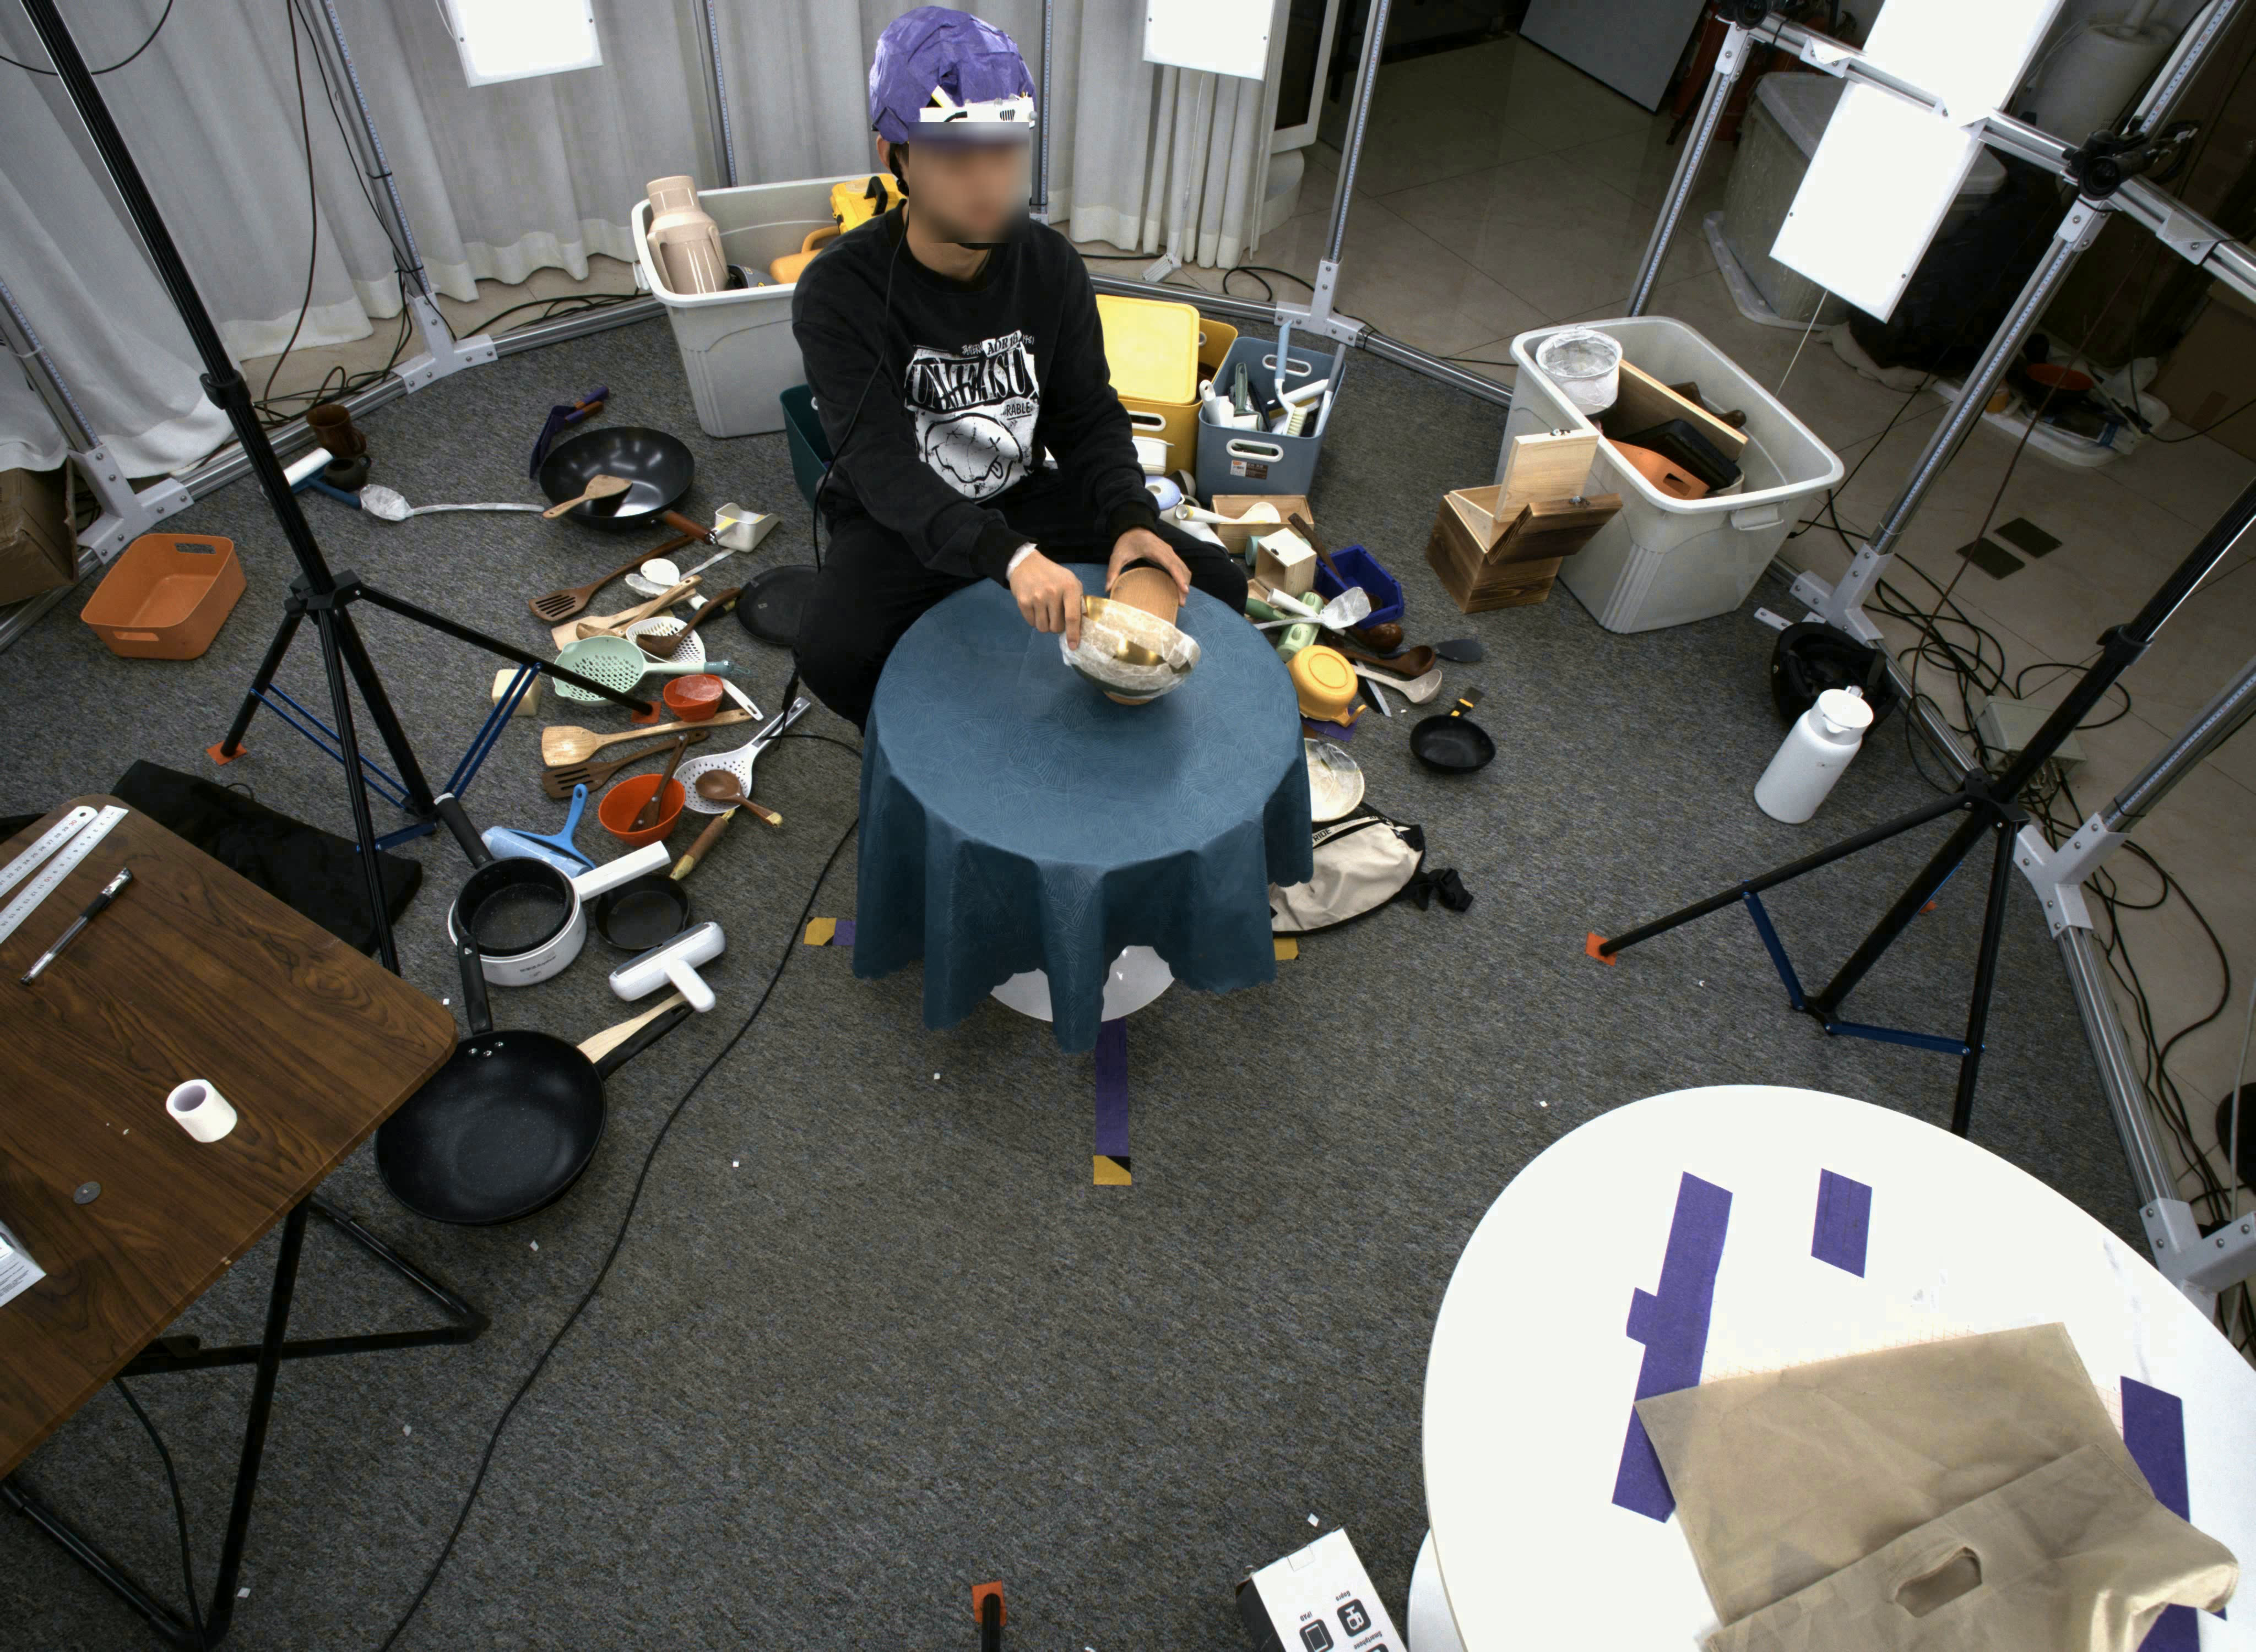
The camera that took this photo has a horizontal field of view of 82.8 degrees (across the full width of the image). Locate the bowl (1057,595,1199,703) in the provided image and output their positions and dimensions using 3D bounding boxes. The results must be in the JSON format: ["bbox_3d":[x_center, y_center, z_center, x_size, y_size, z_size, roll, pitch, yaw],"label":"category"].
[{"bbox_3d":[-0.012,-0.225,1.756,0.216,0.212,0.095,19,82,12],"label":"bowl"}]

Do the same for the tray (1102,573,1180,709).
[{"bbox_3d":[0.018,-0.272,1.877,0.102,0.020,0.235,5,65,6],"label":"tray"}]
